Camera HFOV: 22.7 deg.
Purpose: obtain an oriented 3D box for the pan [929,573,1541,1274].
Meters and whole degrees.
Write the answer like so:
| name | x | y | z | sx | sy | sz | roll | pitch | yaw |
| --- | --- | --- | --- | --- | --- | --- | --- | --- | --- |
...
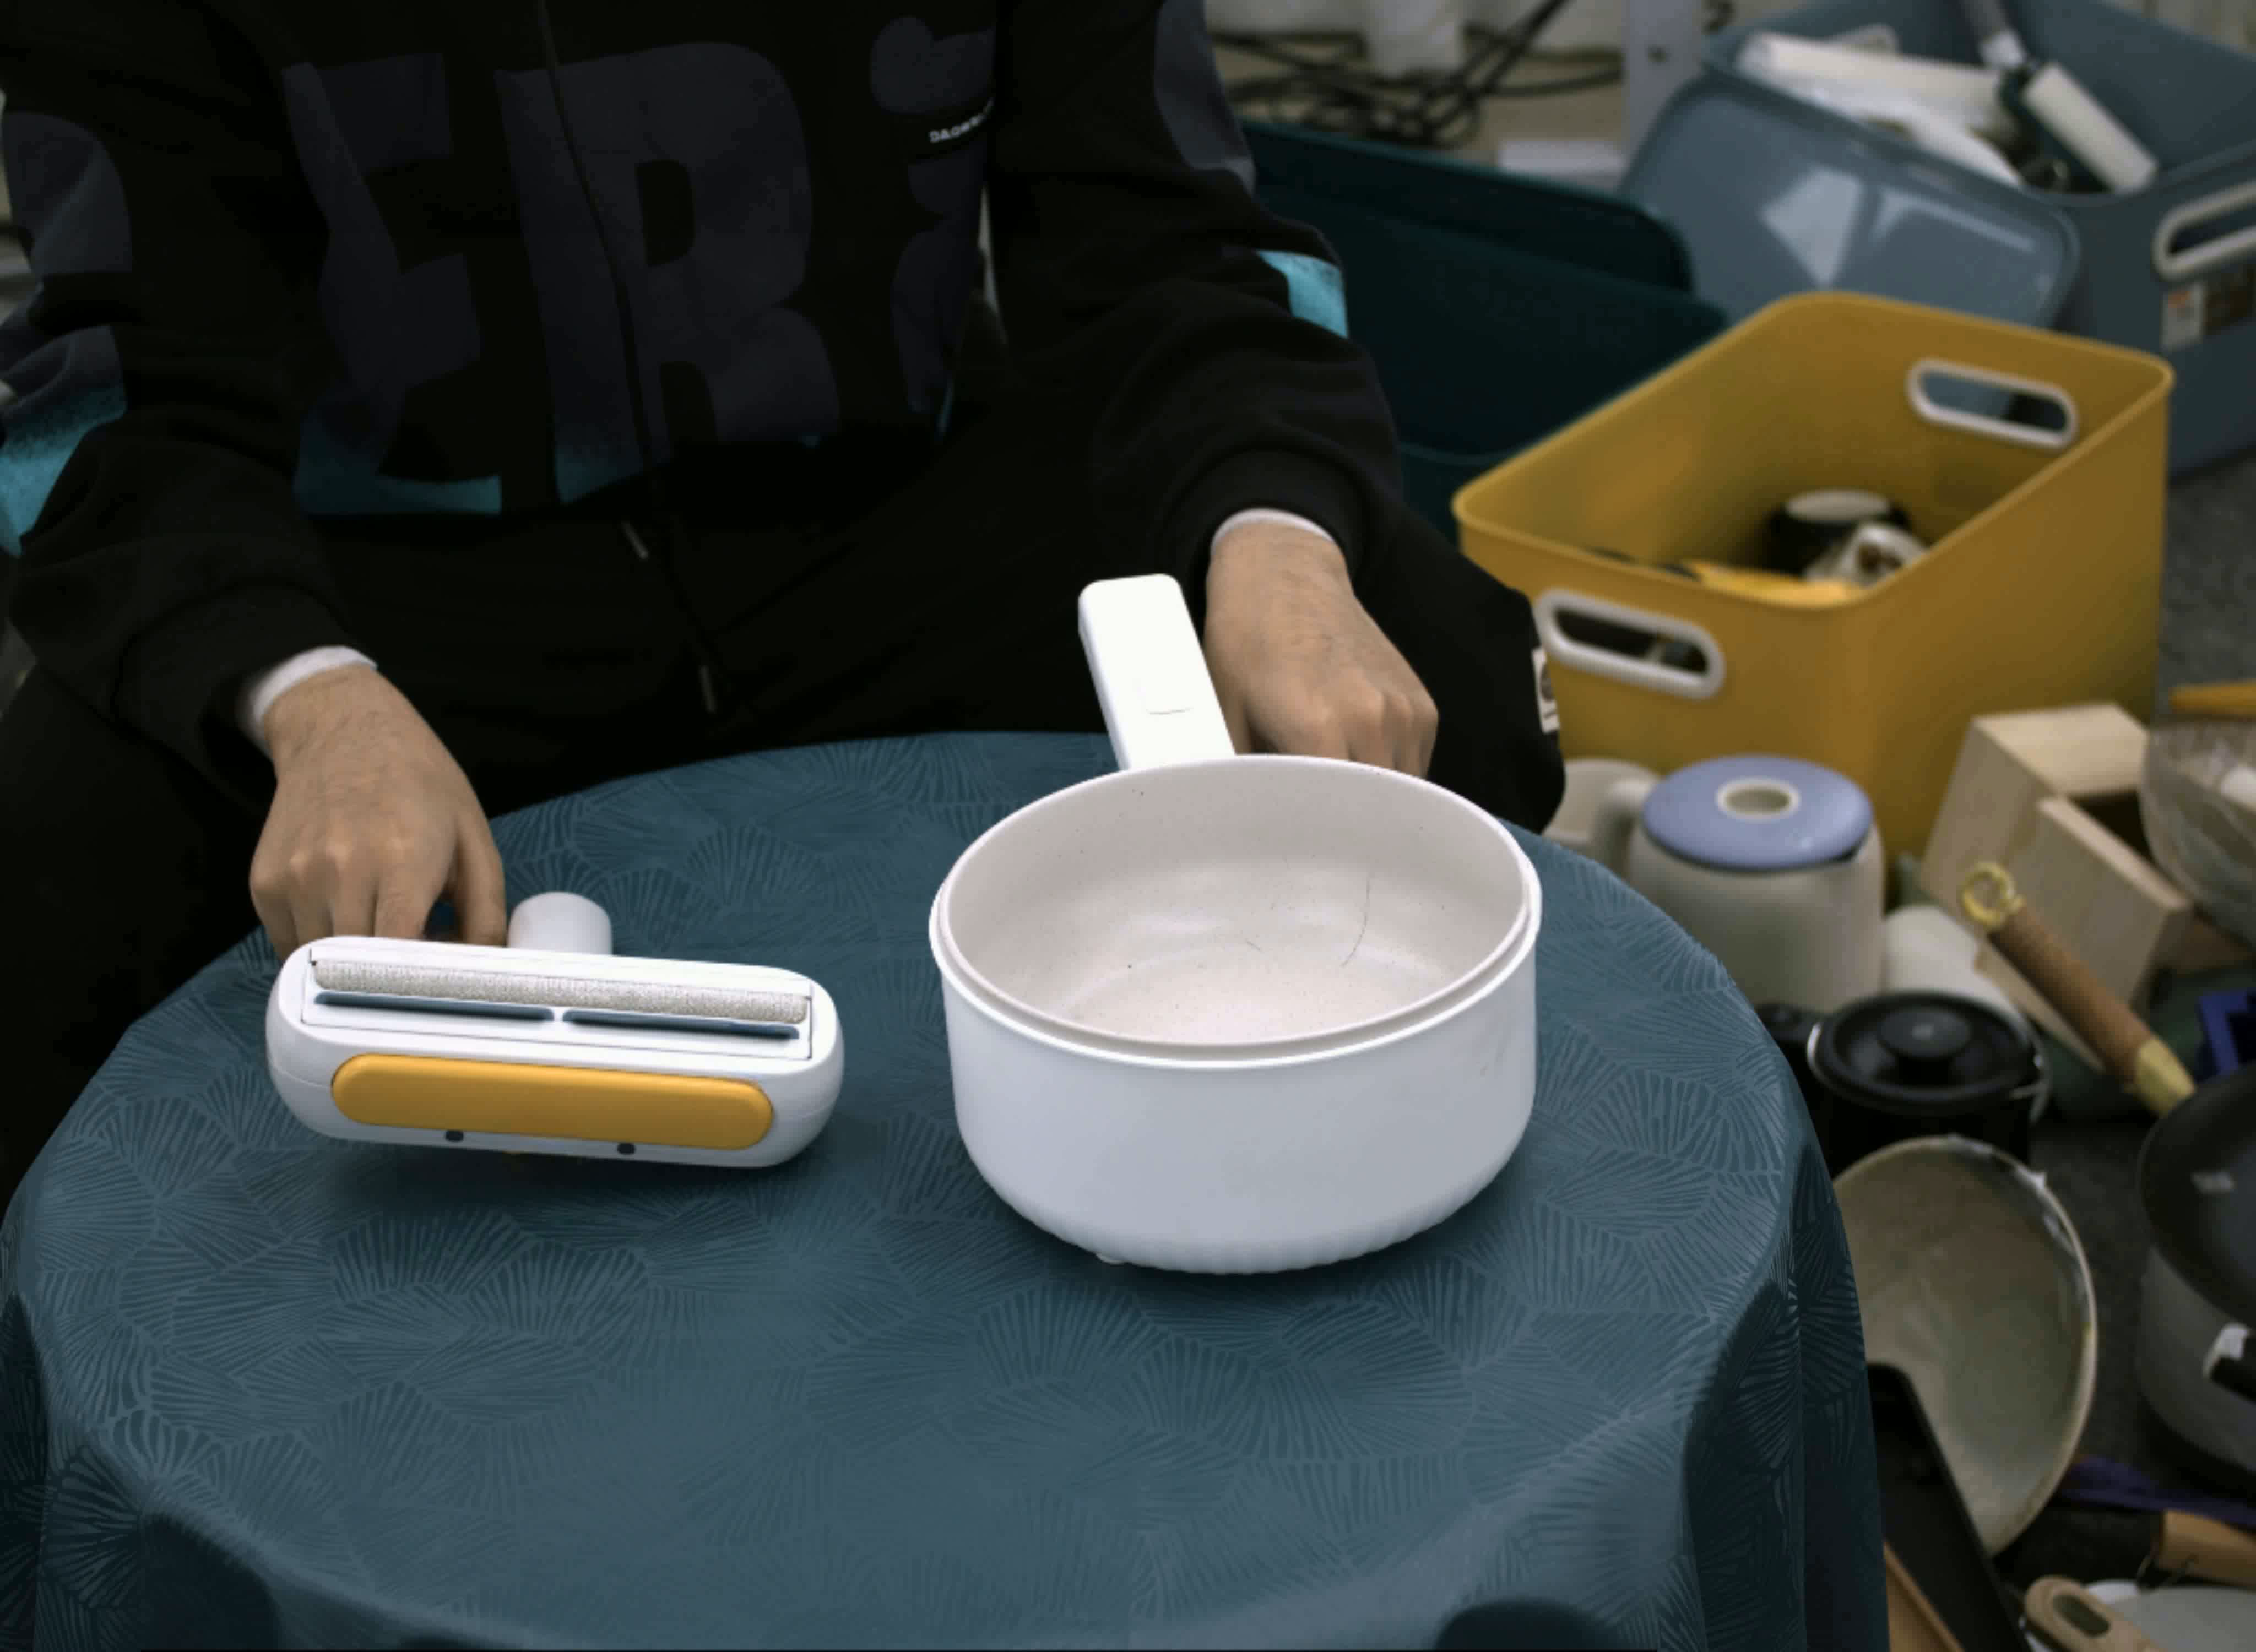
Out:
| name | x | y | z | sx | sy | sz | roll | pitch | yaw |
| --- | --- | --- | --- | --- | --- | --- | --- | --- | --- |
| pan | 0.027 | 0.030 | 1.924 | 0.201 | 0.101 | 0.359 | -6 | 27 | -6 |

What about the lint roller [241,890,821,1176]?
| name | x | y | z | sx | sy | sz | roll | pitch | yaw |
| --- | --- | --- | --- | --- | --- | --- | --- | --- | --- |
| lint roller | -0.199 | 0.057 | 1.932 | 0.192 | 0.073 | 0.195 | 2 | 26 | -2 |
